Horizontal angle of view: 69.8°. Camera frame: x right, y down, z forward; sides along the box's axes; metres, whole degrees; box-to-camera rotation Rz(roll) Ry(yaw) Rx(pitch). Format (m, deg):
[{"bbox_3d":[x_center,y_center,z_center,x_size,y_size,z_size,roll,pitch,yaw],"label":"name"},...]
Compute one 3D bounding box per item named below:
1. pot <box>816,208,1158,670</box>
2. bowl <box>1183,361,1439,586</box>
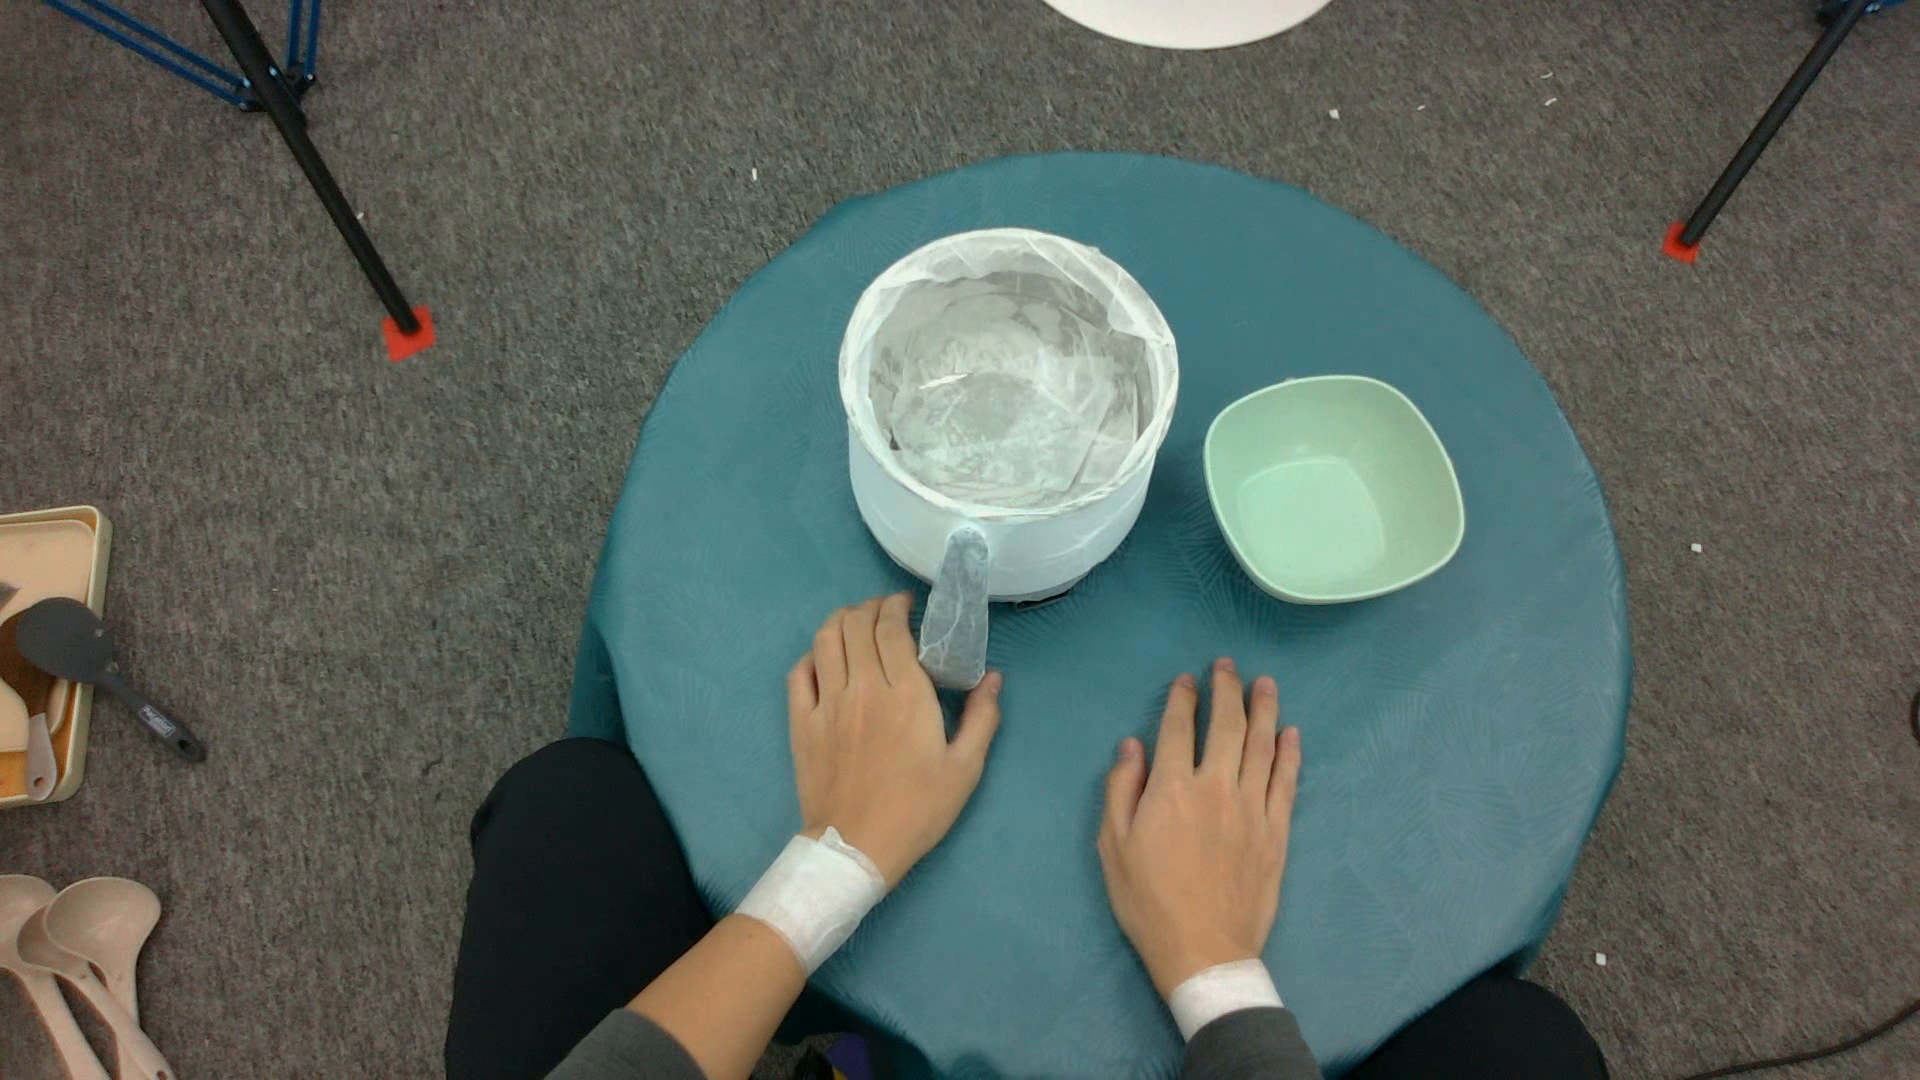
[{"bbox_3d":[0.007,-0.050,0.759,0.178,0.136,0.234,10,66,3],"label":"pot"},{"bbox_3d":[0.197,-0.030,0.802,0.151,0.058,0.152,1,64,-2],"label":"bowl"}]
